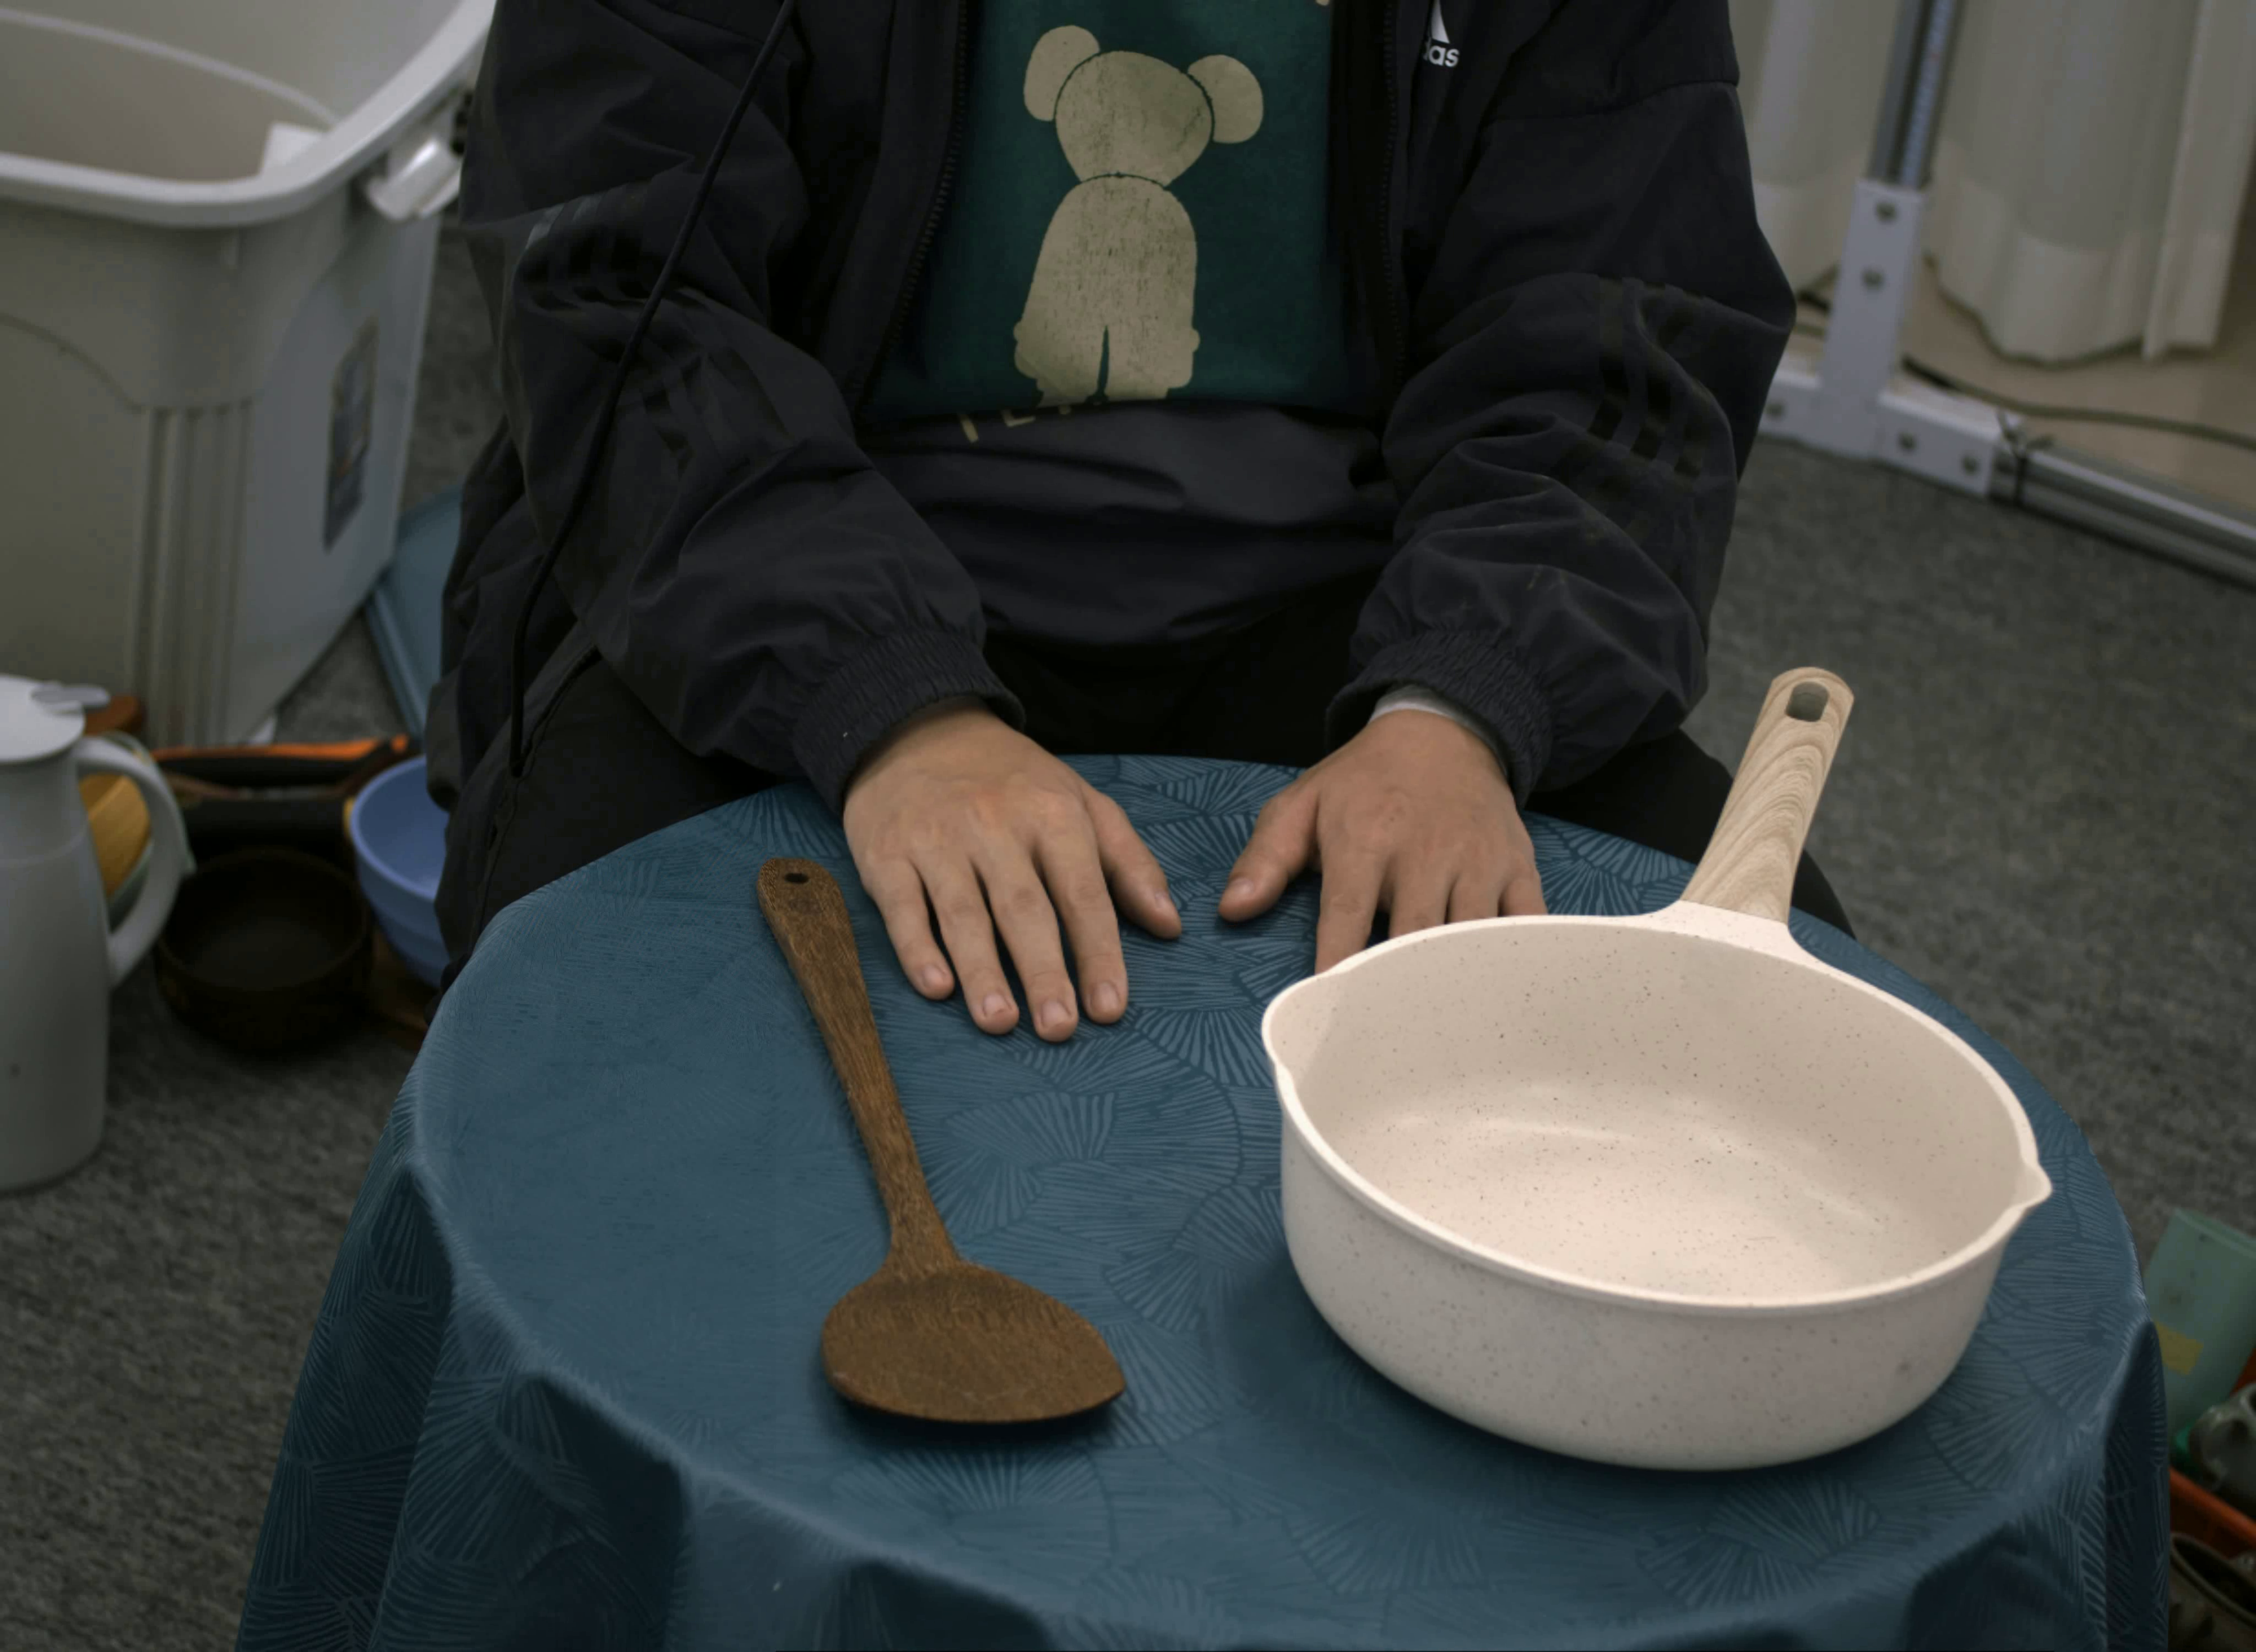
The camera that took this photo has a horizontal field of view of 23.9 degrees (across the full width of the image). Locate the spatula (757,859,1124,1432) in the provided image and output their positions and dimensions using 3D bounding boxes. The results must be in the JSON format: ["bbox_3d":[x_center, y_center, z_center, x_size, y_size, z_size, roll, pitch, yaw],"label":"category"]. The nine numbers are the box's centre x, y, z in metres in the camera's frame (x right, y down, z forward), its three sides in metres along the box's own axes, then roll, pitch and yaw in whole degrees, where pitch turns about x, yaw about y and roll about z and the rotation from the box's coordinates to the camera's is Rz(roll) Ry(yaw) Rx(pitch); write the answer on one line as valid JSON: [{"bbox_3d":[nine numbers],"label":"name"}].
[{"bbox_3d":[-0.084,0.100,1.817,0.095,0.016,0.389,0,27,-14],"label":"spatula"}]

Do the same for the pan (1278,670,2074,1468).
[{"bbox_3d":[0.199,0.078,1.827,0.263,0.101,0.436,11,28,12],"label":"pan"}]
